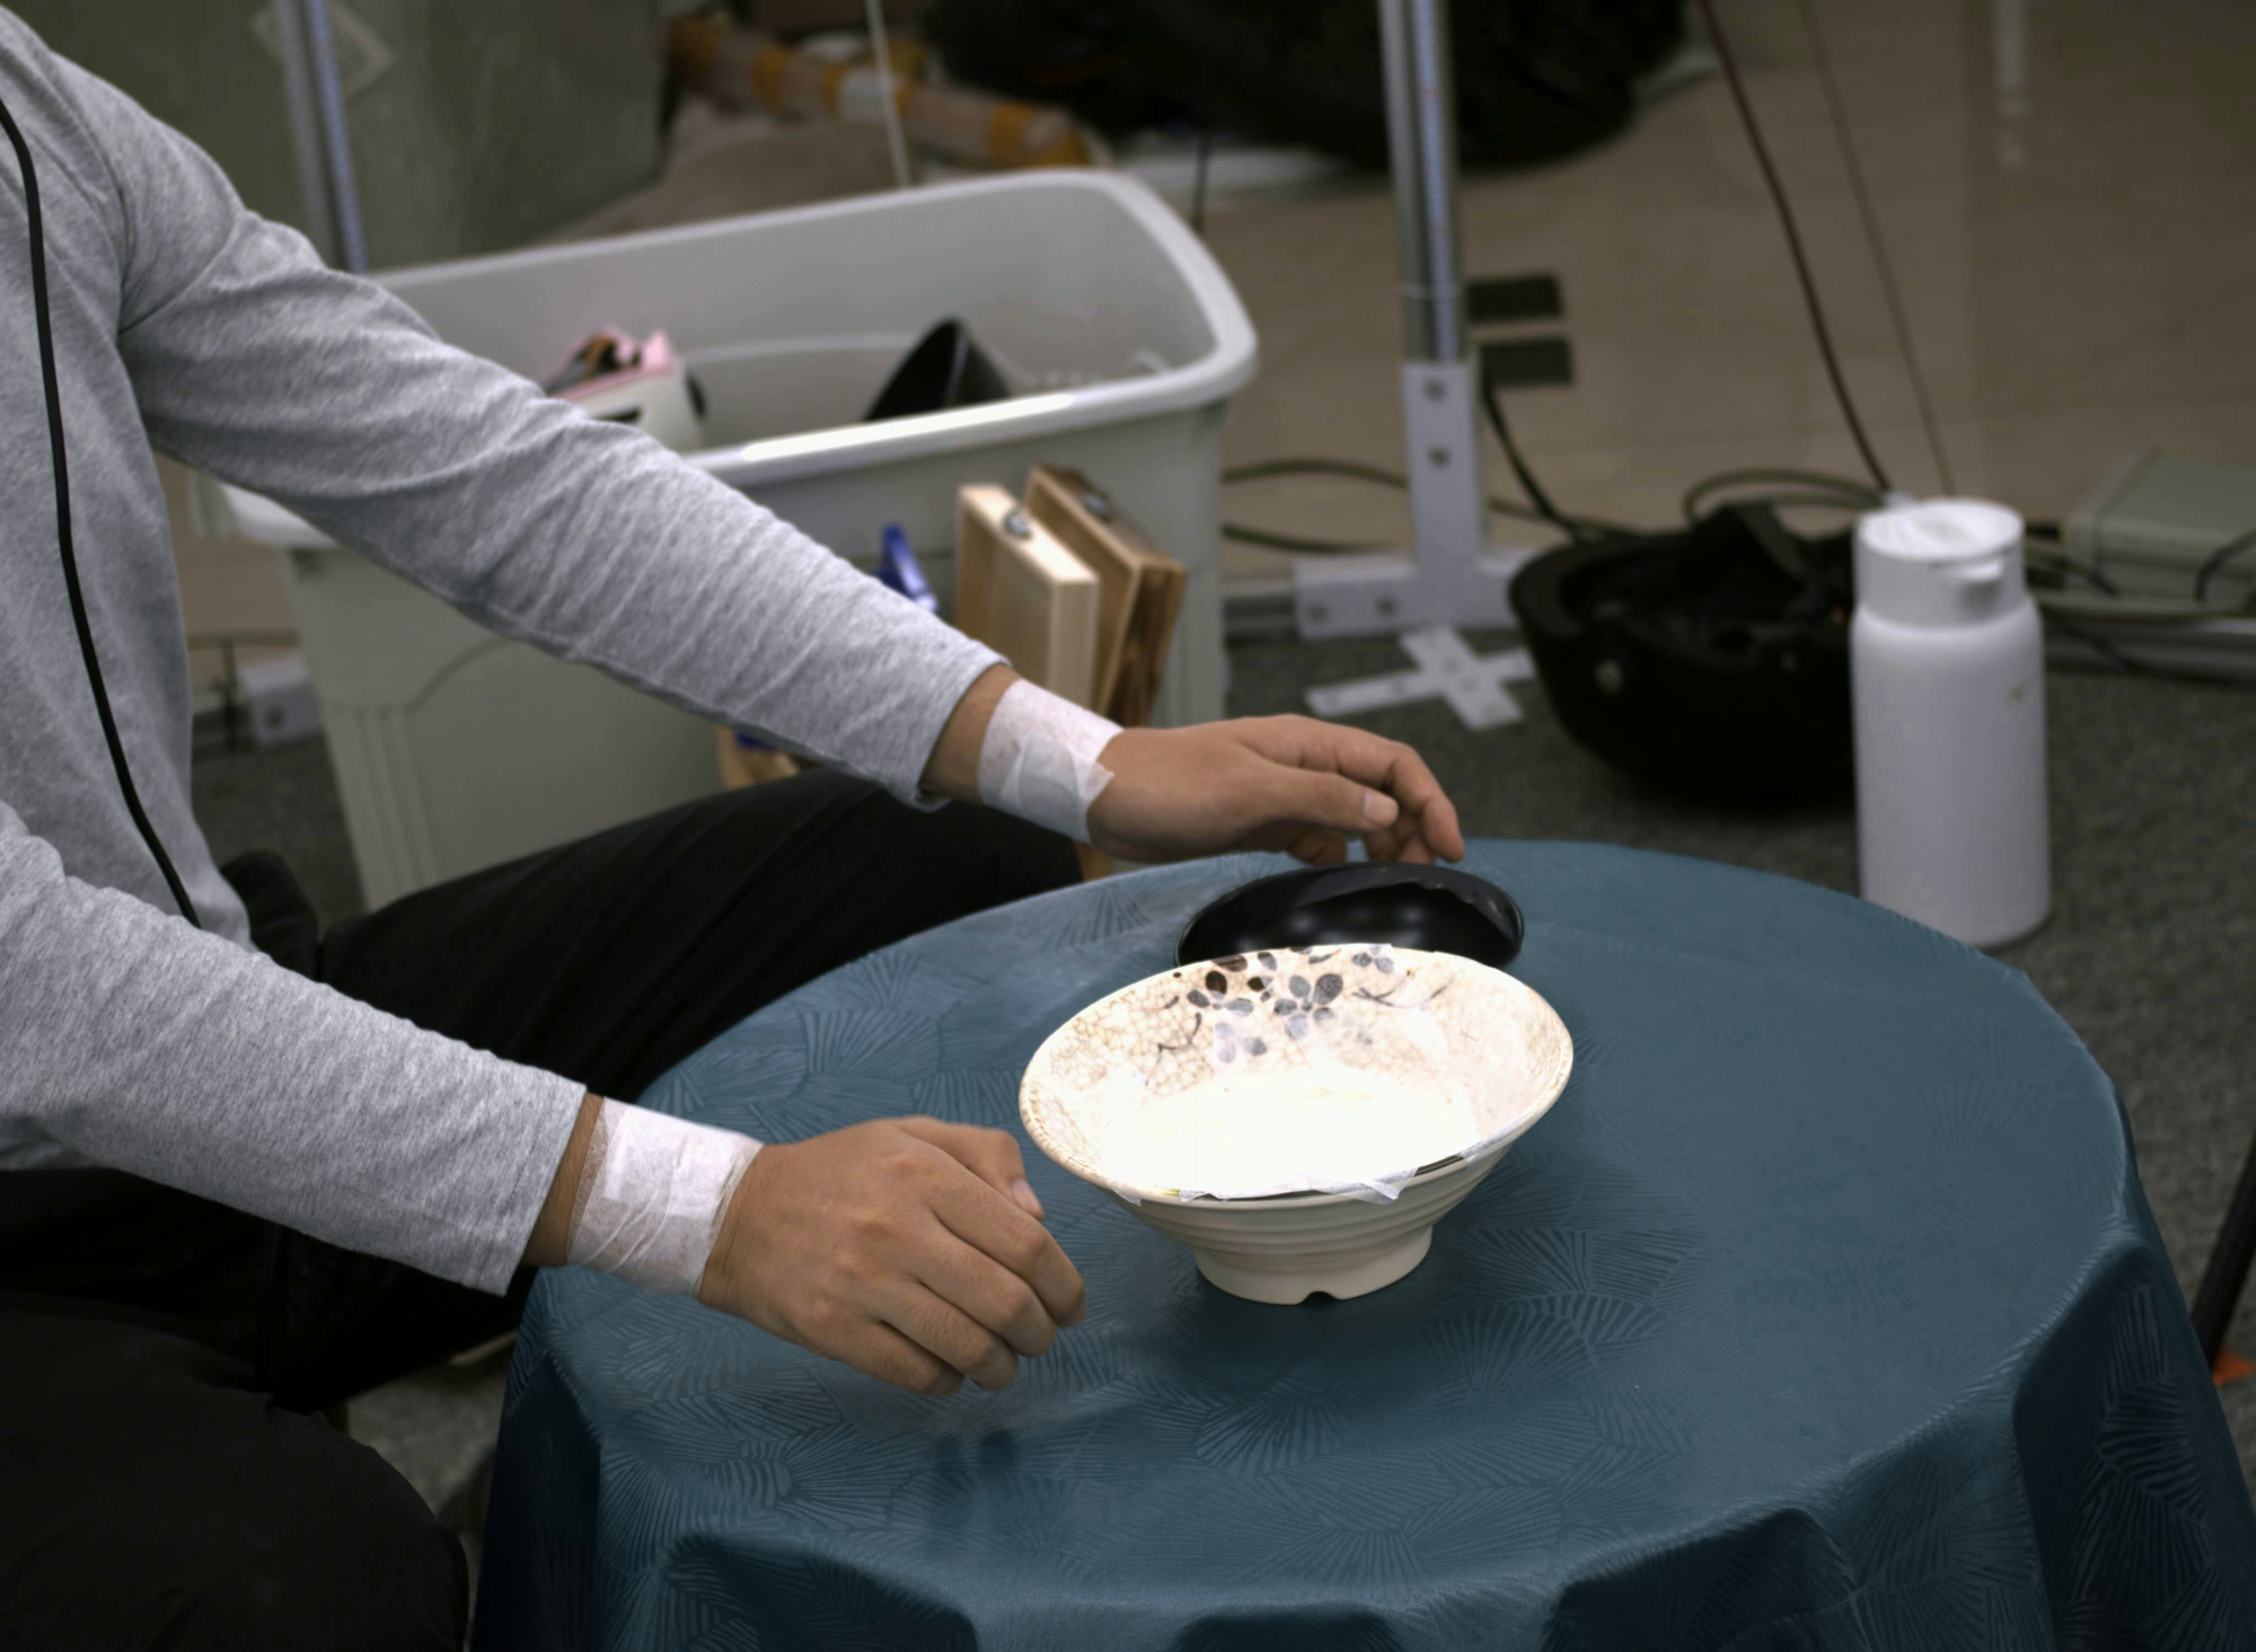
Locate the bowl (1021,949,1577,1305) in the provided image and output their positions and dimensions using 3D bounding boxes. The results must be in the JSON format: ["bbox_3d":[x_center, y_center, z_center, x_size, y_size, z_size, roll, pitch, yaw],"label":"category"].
[{"bbox_3d":[0.066,0.121,2.079,0.203,0.079,0.201,-6,24,3],"label":"bowl"}]

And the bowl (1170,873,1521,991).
[{"bbox_3d":[0.089,0.068,2.232,0.140,0.050,0.138,-10,21,4],"label":"bowl"}]
